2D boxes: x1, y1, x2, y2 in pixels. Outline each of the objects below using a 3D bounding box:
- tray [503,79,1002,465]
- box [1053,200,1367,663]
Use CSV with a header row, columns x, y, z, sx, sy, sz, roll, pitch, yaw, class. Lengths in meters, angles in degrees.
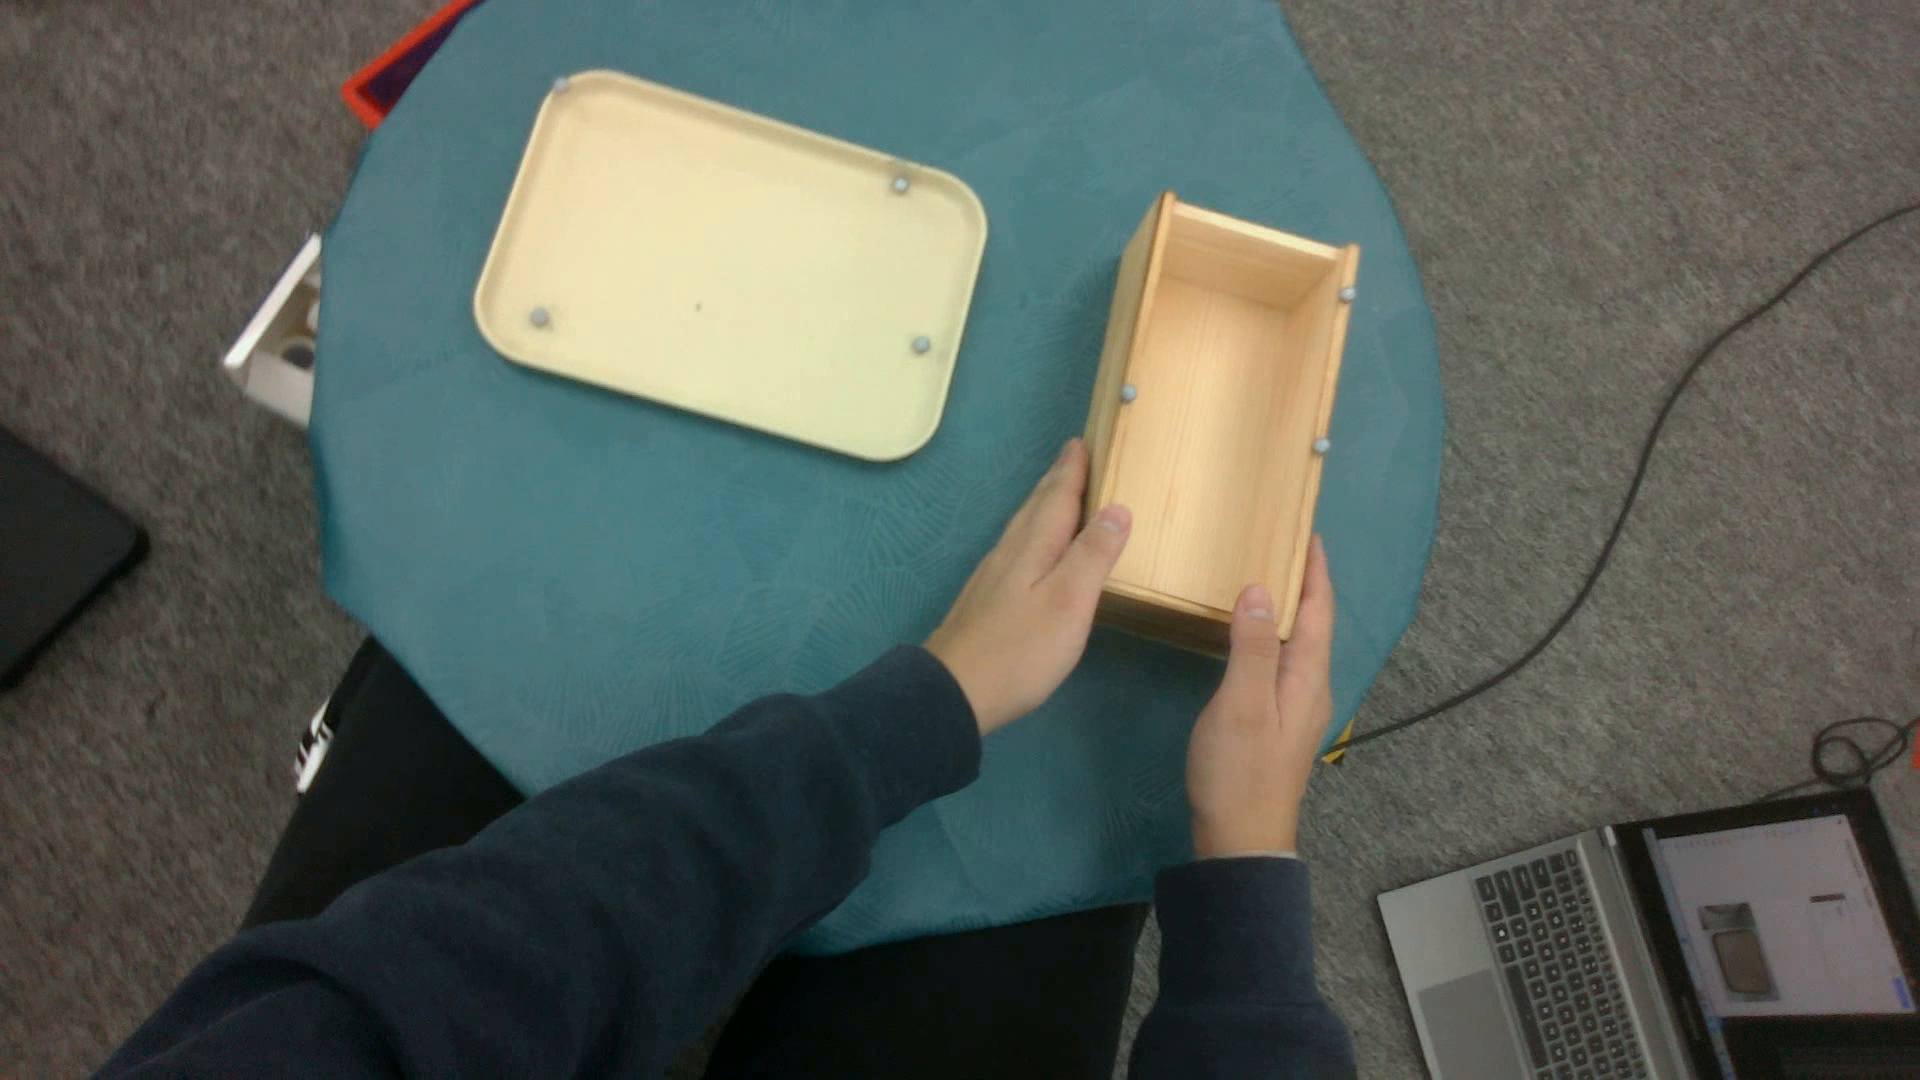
x,y,z,sx,sy,sz,roll,pitch,yaw,class
-0.106,-0.142,0.732,0.240,0.017,0.171,16,76,-5,tray
0.129,-0.054,0.717,0.107,0.080,0.212,15,75,-5,box
